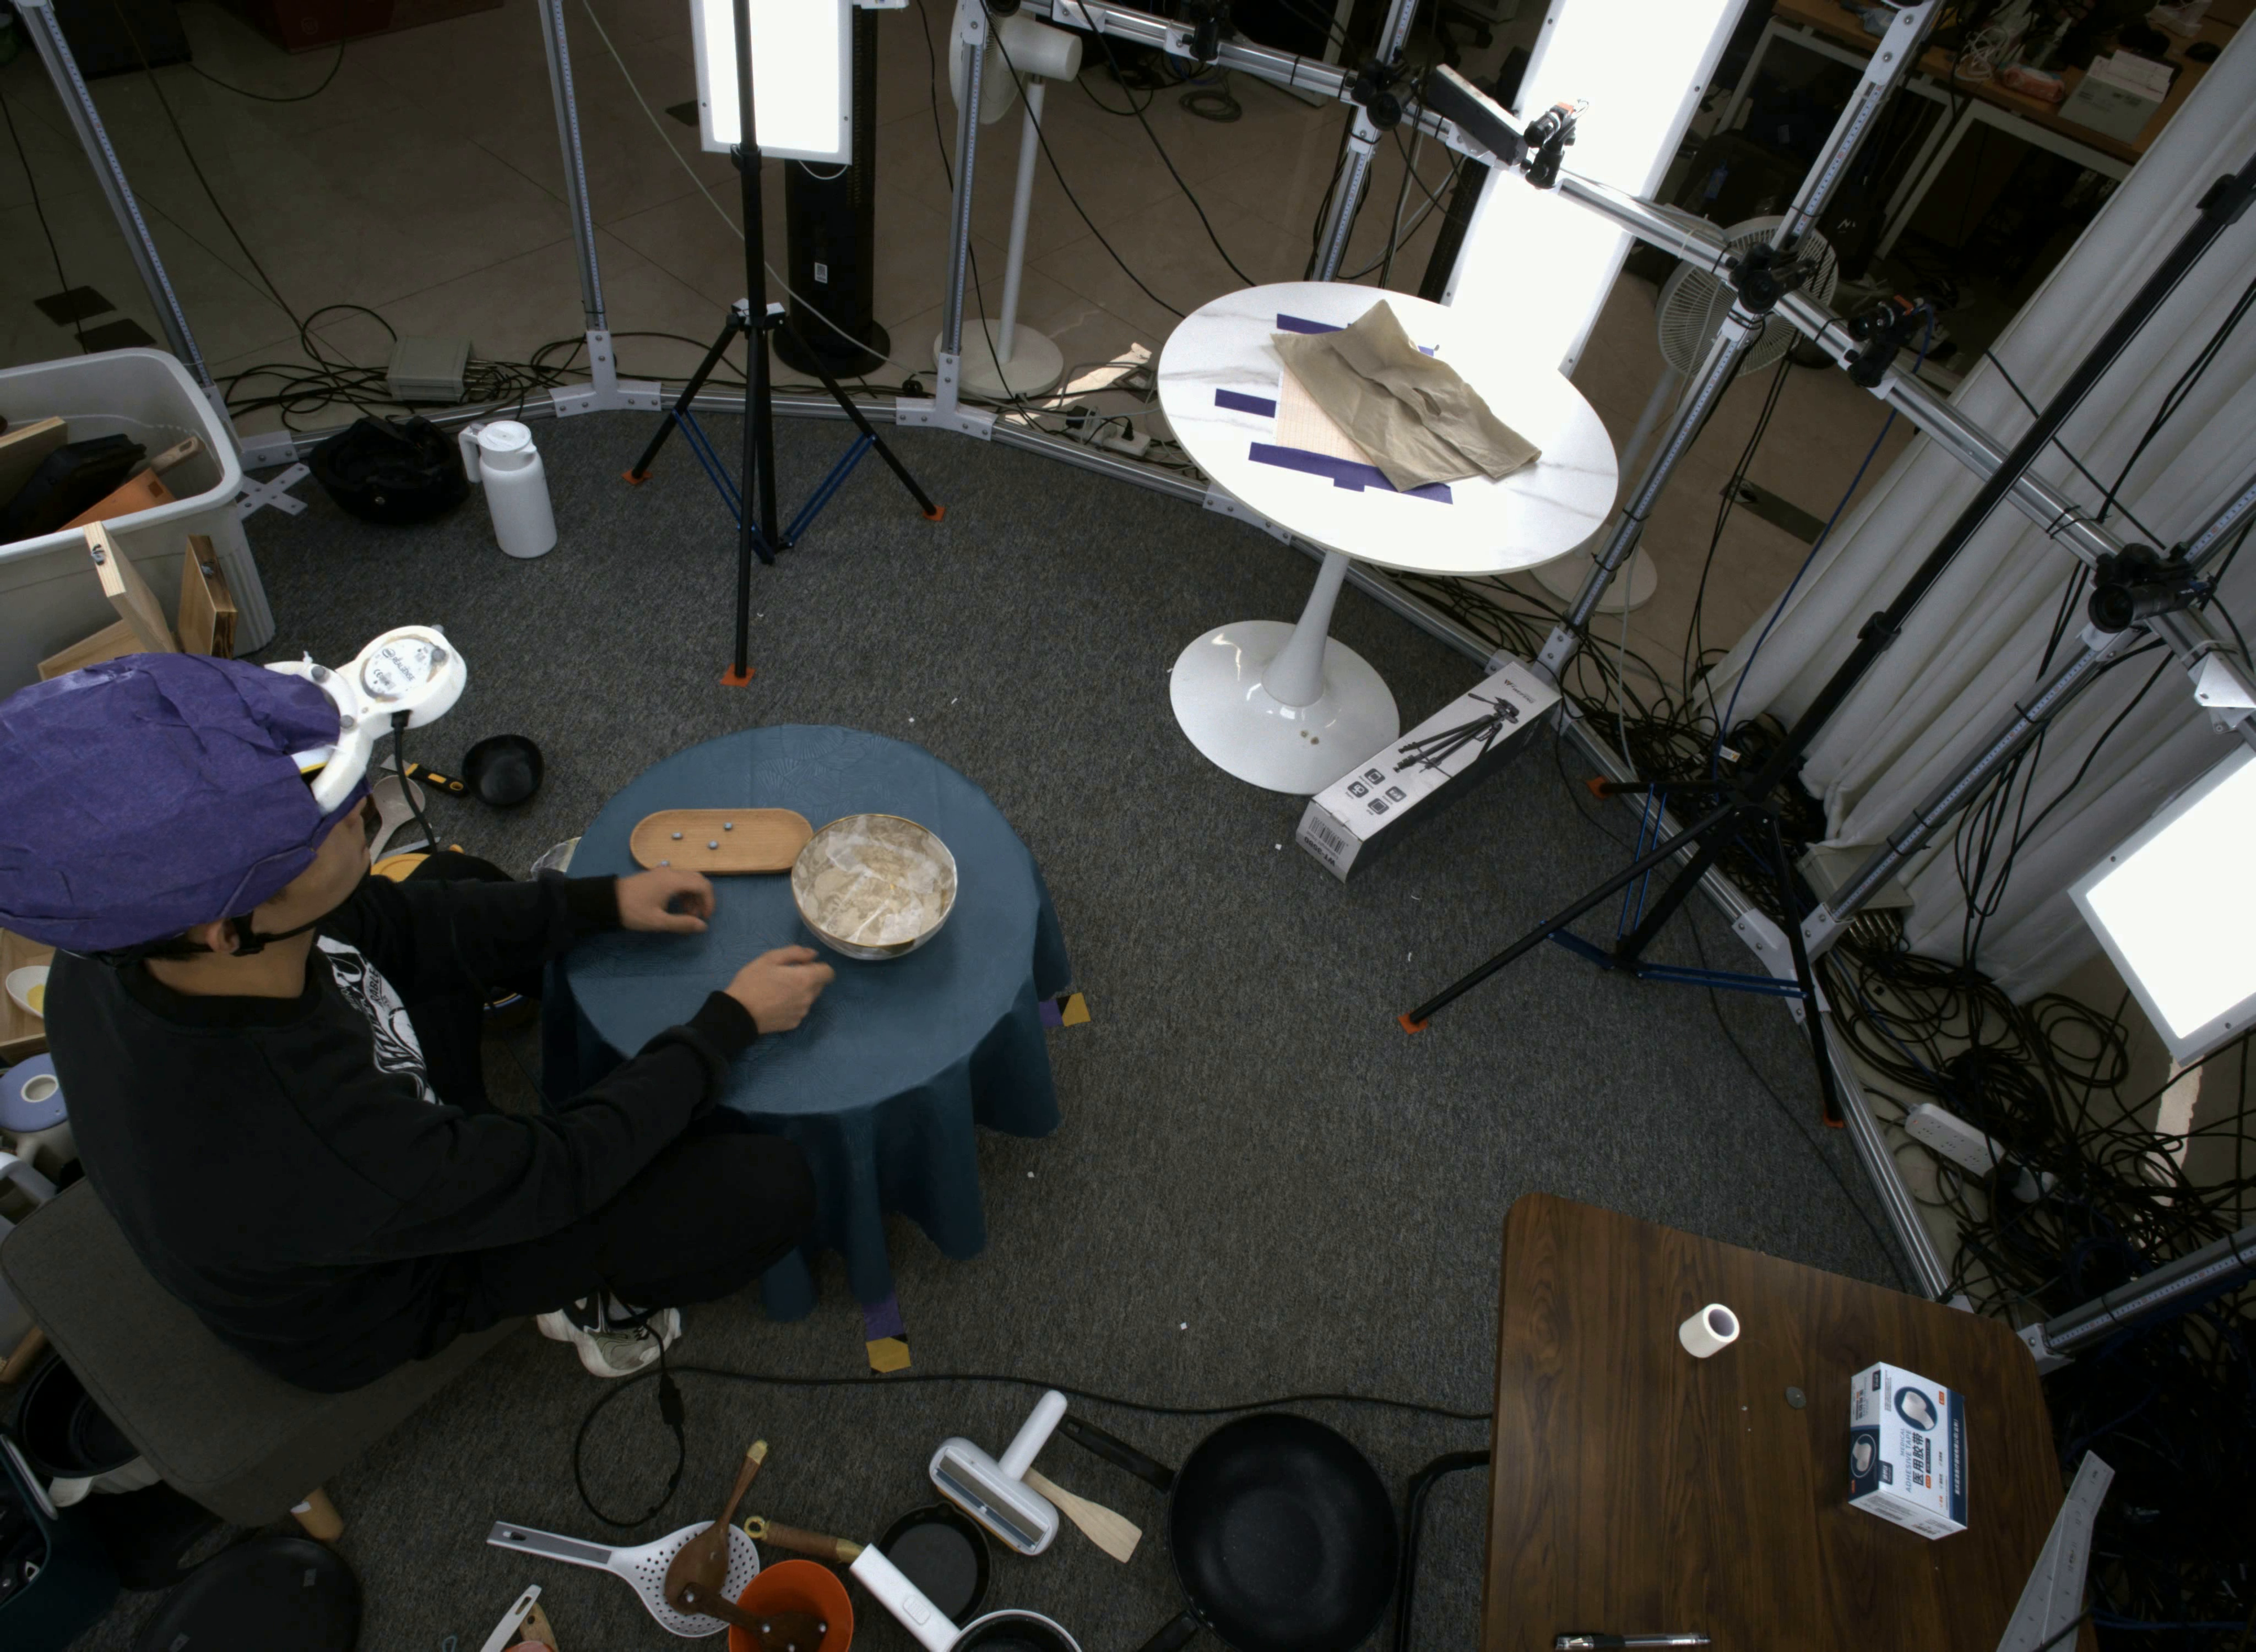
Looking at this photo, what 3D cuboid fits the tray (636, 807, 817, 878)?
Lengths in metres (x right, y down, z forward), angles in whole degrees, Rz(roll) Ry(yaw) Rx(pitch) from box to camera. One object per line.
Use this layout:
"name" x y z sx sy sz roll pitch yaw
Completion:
"tray" -0.521 0.020 1.679 0.232 0.020 0.099 -1 57 -17

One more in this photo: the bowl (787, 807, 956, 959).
"bowl" -0.322 0.084 1.632 0.214 0.096 0.211 8 53 -9
